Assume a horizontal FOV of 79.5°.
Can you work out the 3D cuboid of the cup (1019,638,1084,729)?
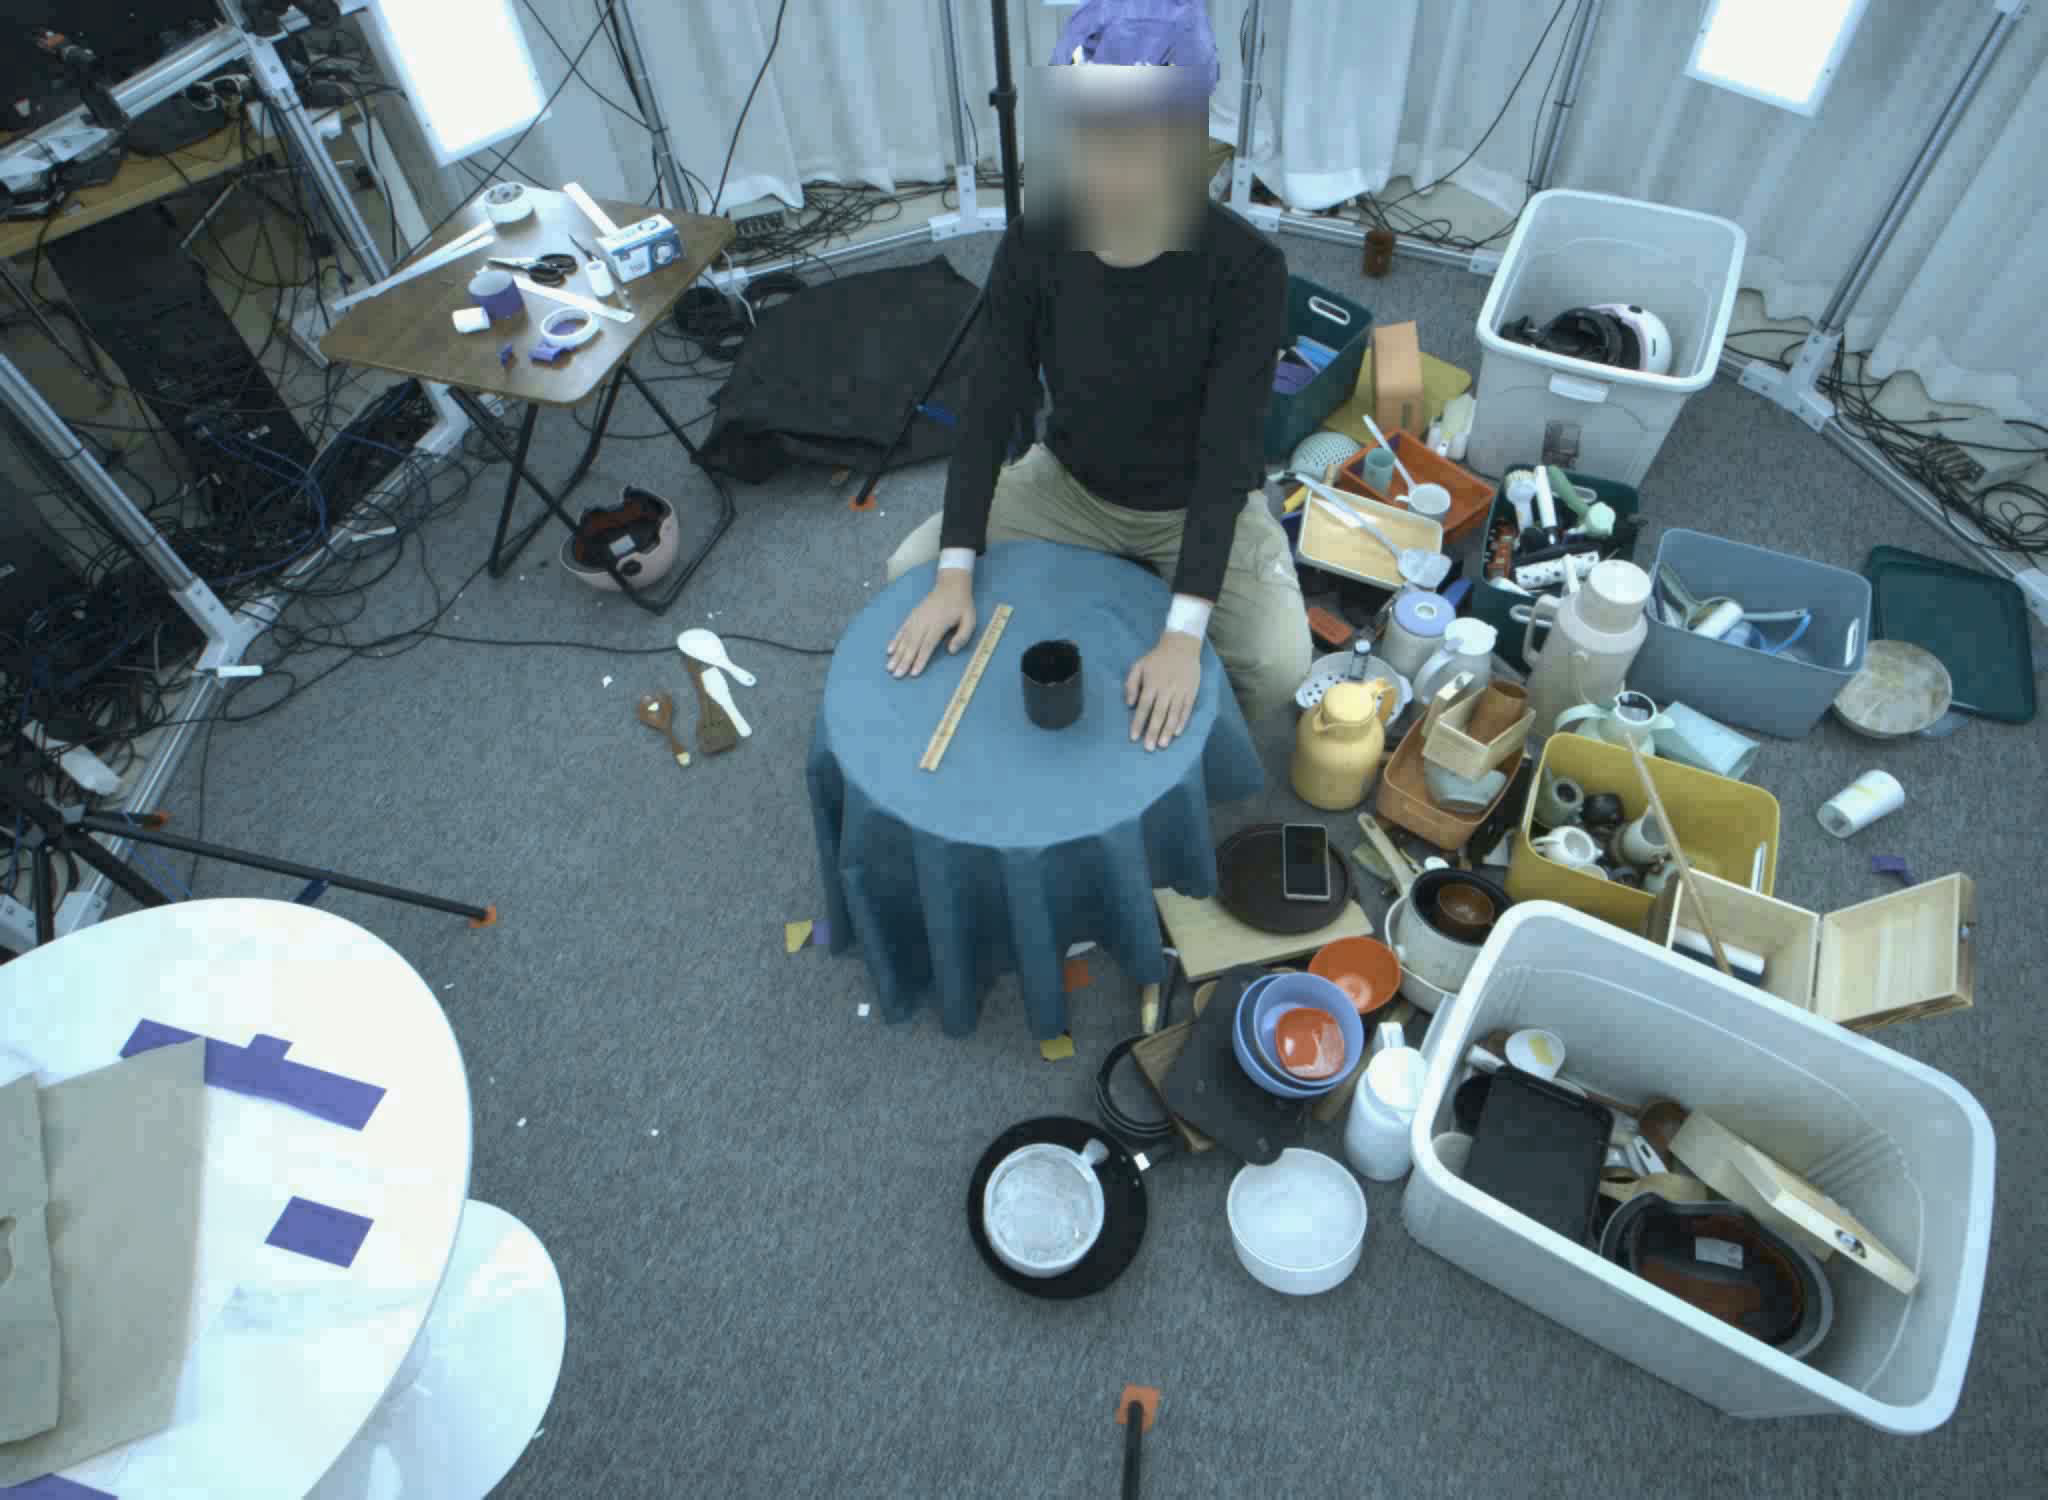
[{"bbox_3d":[0.046,-0.109,1.801,0.088,0.106,0.123,13,56,14],"label":"cup"}]

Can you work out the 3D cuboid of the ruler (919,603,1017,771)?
[{"bbox_3d":[-0.082,-0.104,1.858,0.027,0.022,0.331,19,58,10],"label":"ruler"}]
